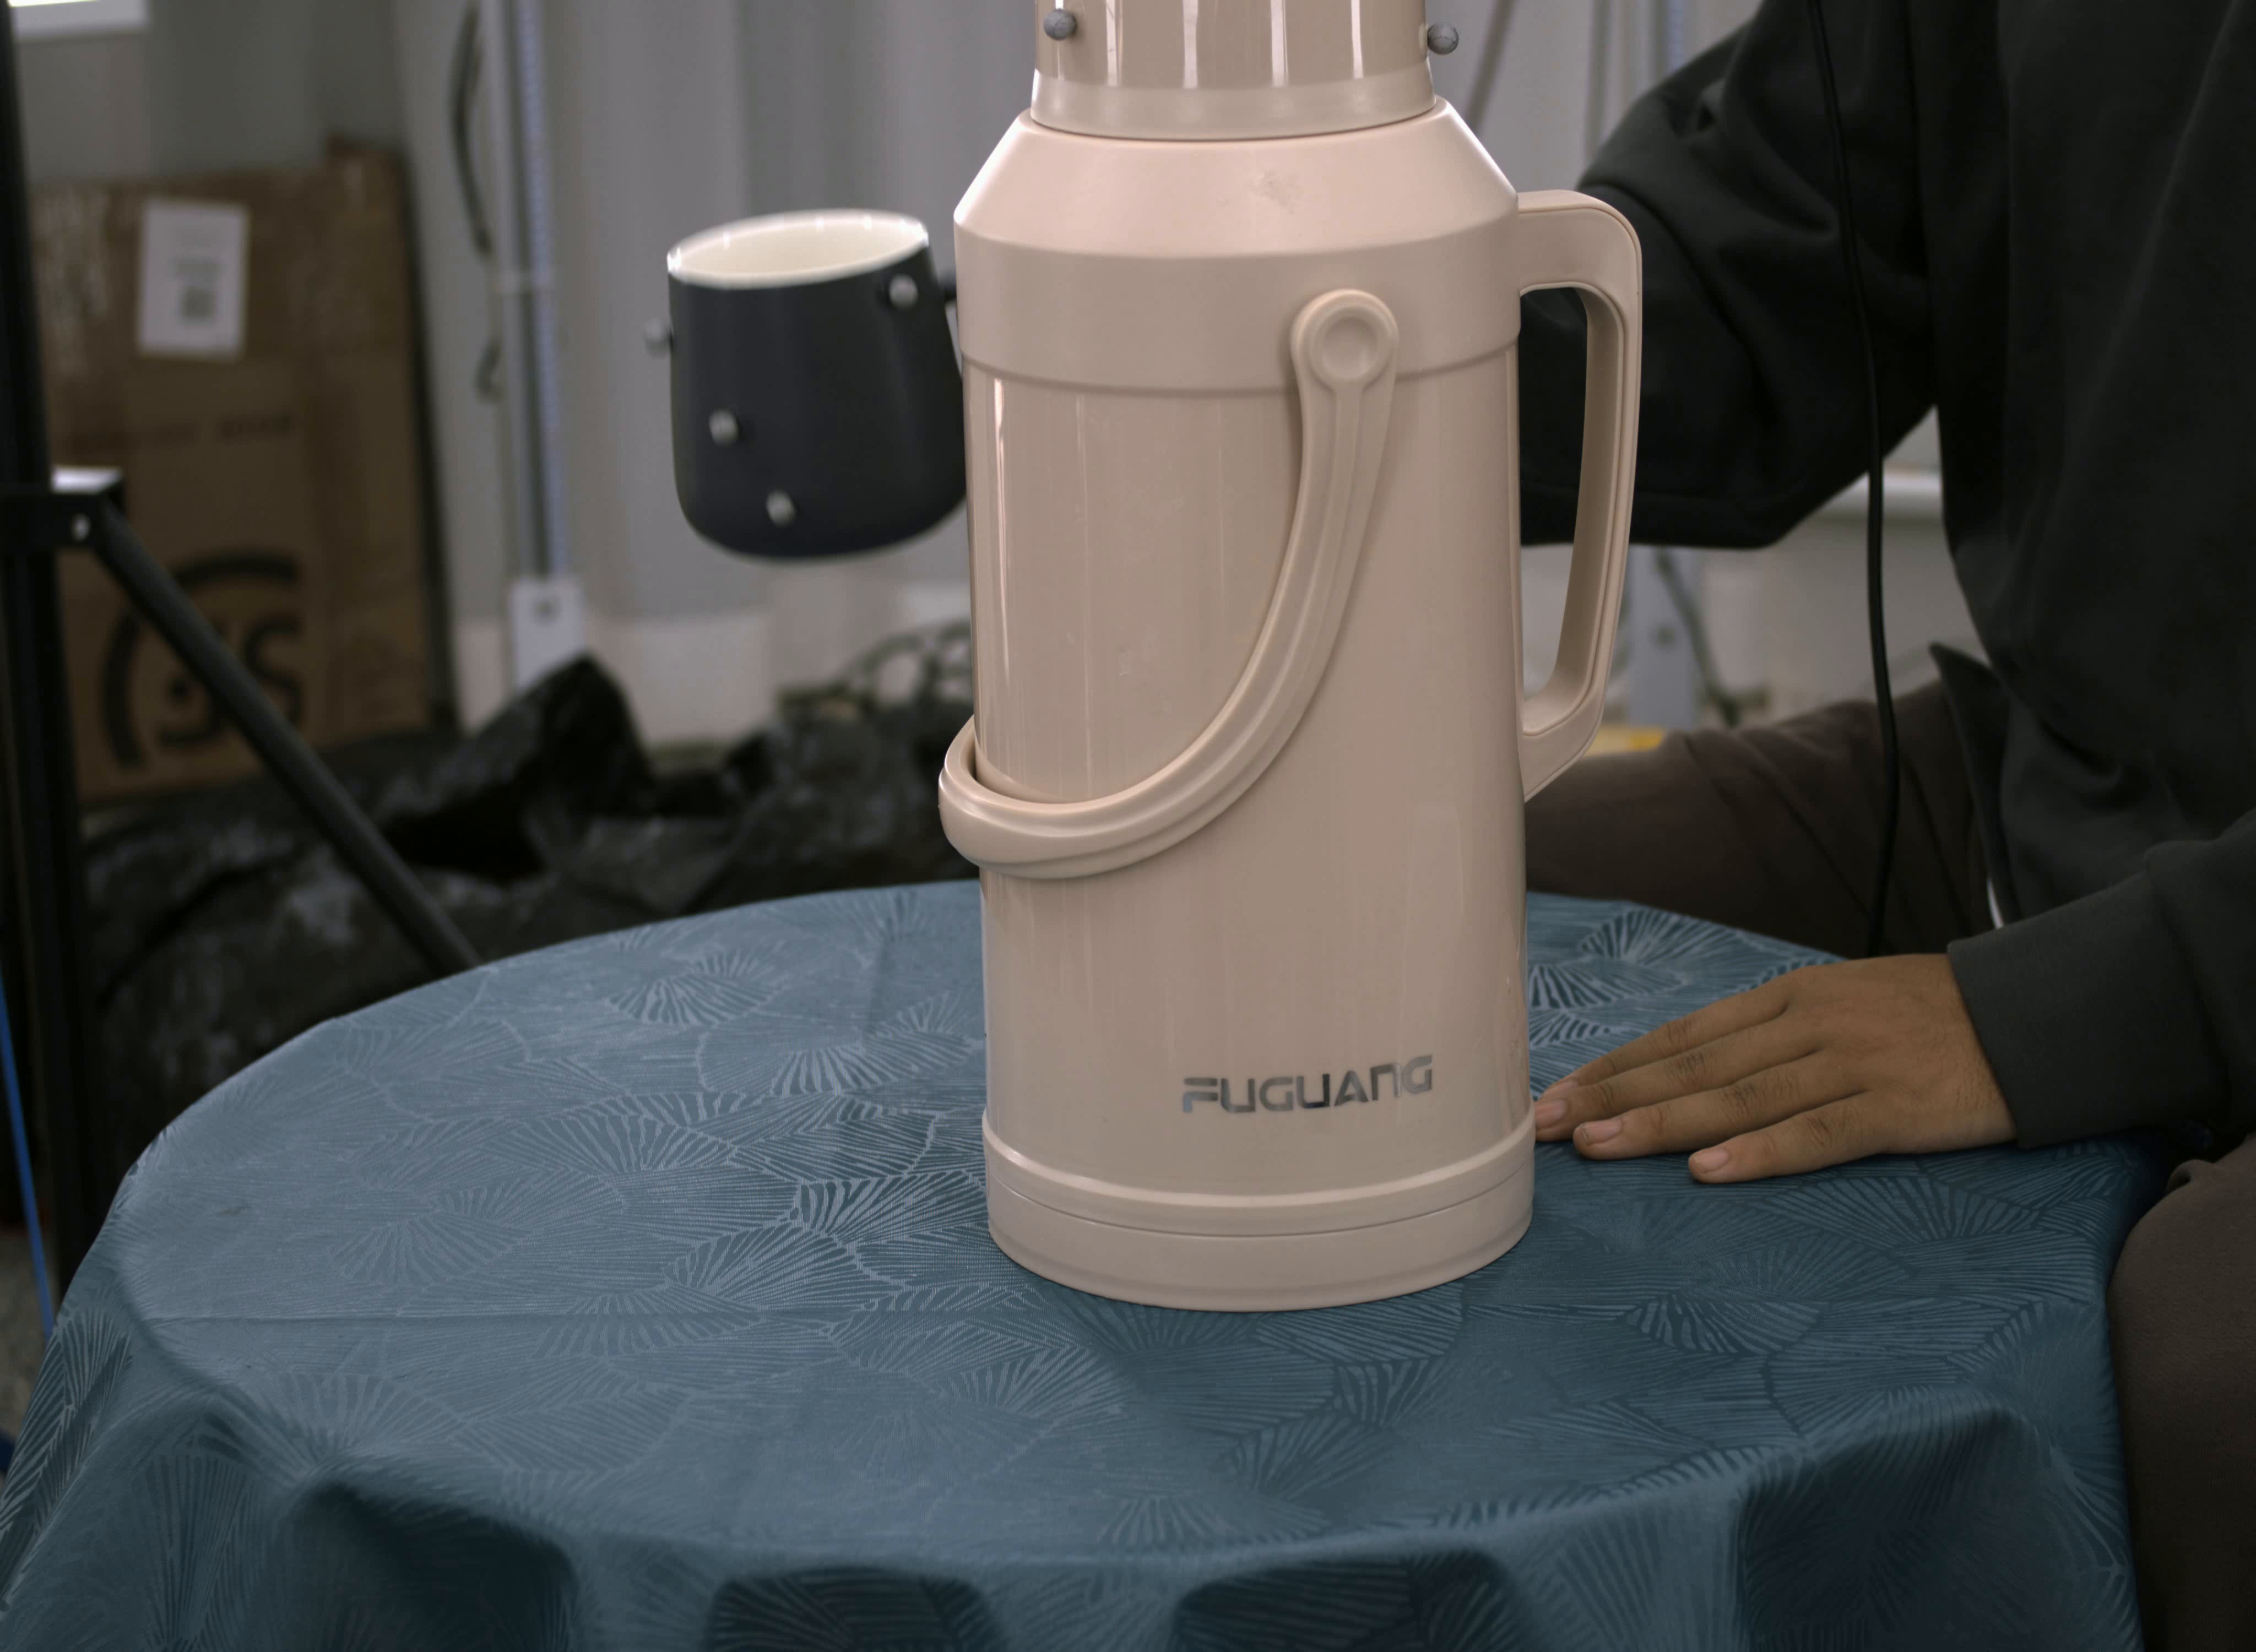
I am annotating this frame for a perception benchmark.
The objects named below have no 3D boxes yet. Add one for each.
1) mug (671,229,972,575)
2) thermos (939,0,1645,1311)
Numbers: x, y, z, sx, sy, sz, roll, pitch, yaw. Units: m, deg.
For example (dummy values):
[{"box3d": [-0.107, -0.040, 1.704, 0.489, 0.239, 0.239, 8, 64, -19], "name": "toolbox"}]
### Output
[{"box3d": [-0.080, -0.134, 1.655, 0.122, 0.089, 0.095, -10, 19, -7], "name": "mug"}, {"box3d": [0.047, -0.080, 1.488, 0.203, 0.406, 0.178, -7, 15, -17], "name": "thermos"}]
